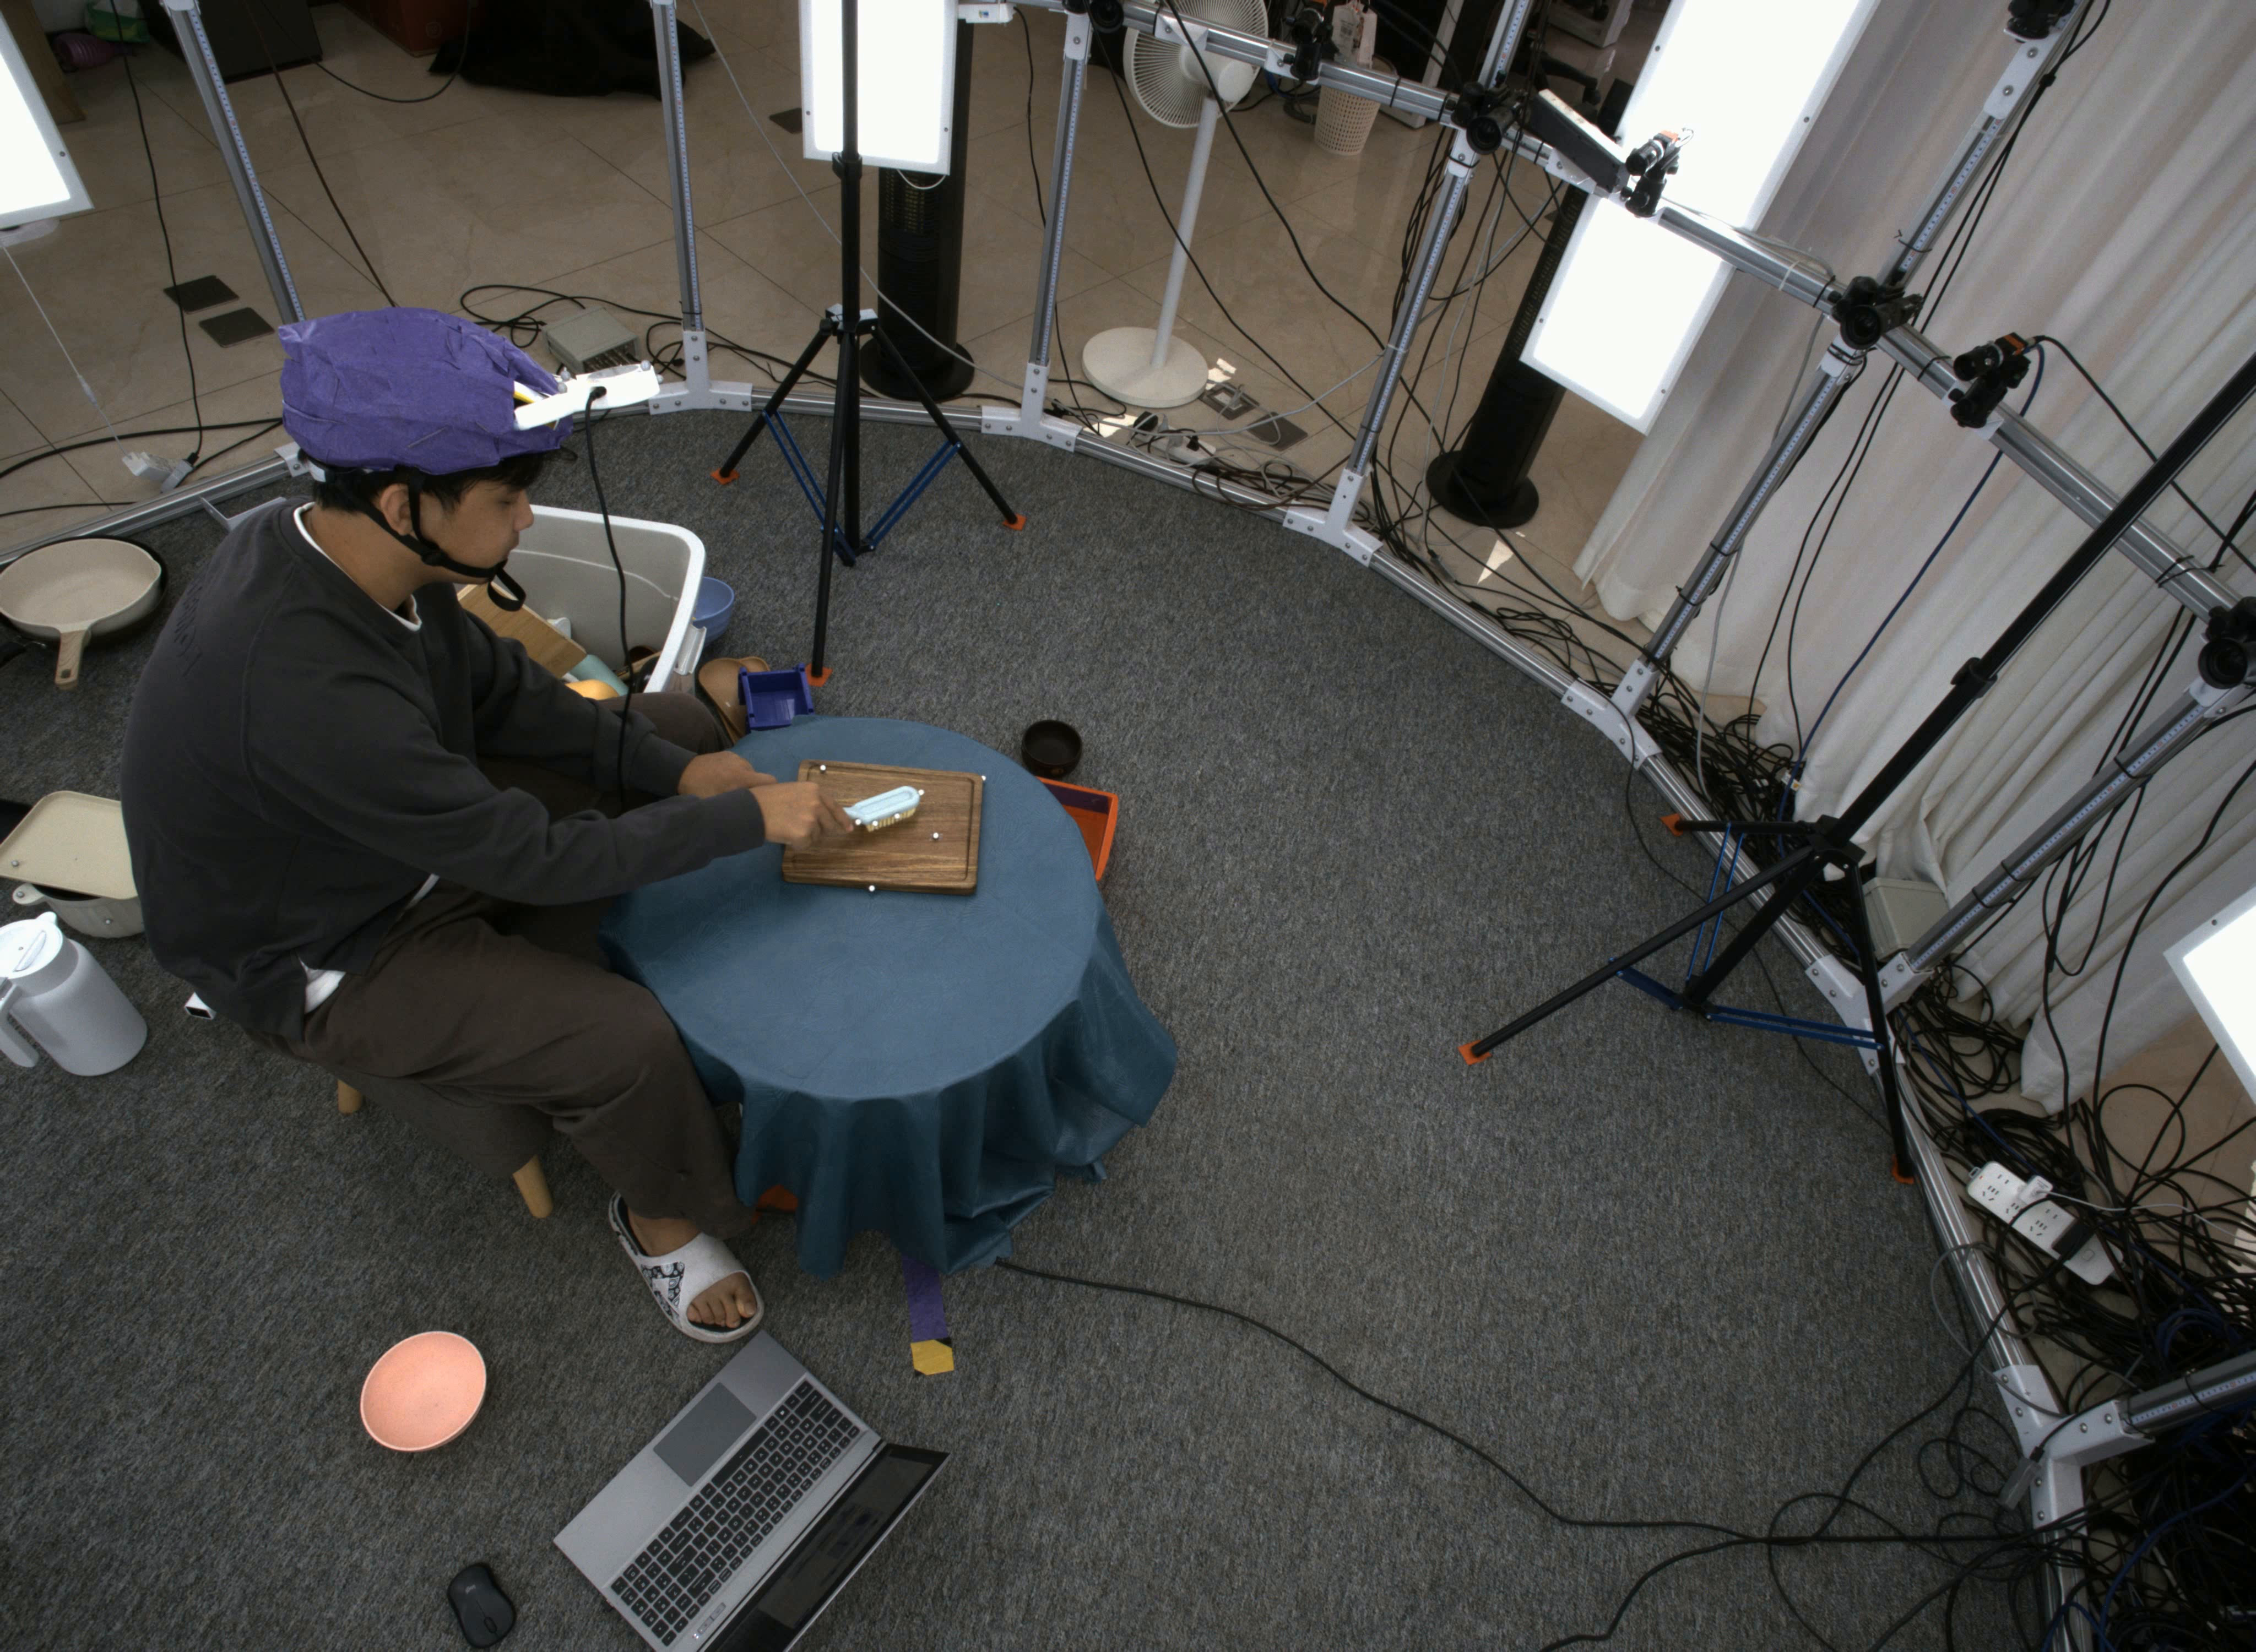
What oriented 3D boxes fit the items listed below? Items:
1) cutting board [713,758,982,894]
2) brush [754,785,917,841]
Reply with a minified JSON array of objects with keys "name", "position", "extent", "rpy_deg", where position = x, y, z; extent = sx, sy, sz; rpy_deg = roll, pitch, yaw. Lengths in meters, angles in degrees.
[{"name":"cutting board","position":[-0.371,-0.007,1.726],"extent":[0.352,0.023,0.197],"rpy_deg":[5,53,-10]},{"name":"brush","position":[-0.374,-0.009,1.672],"extent":[0.231,0.050,0.037],"rpy_deg":[-16,57,-42]}]
